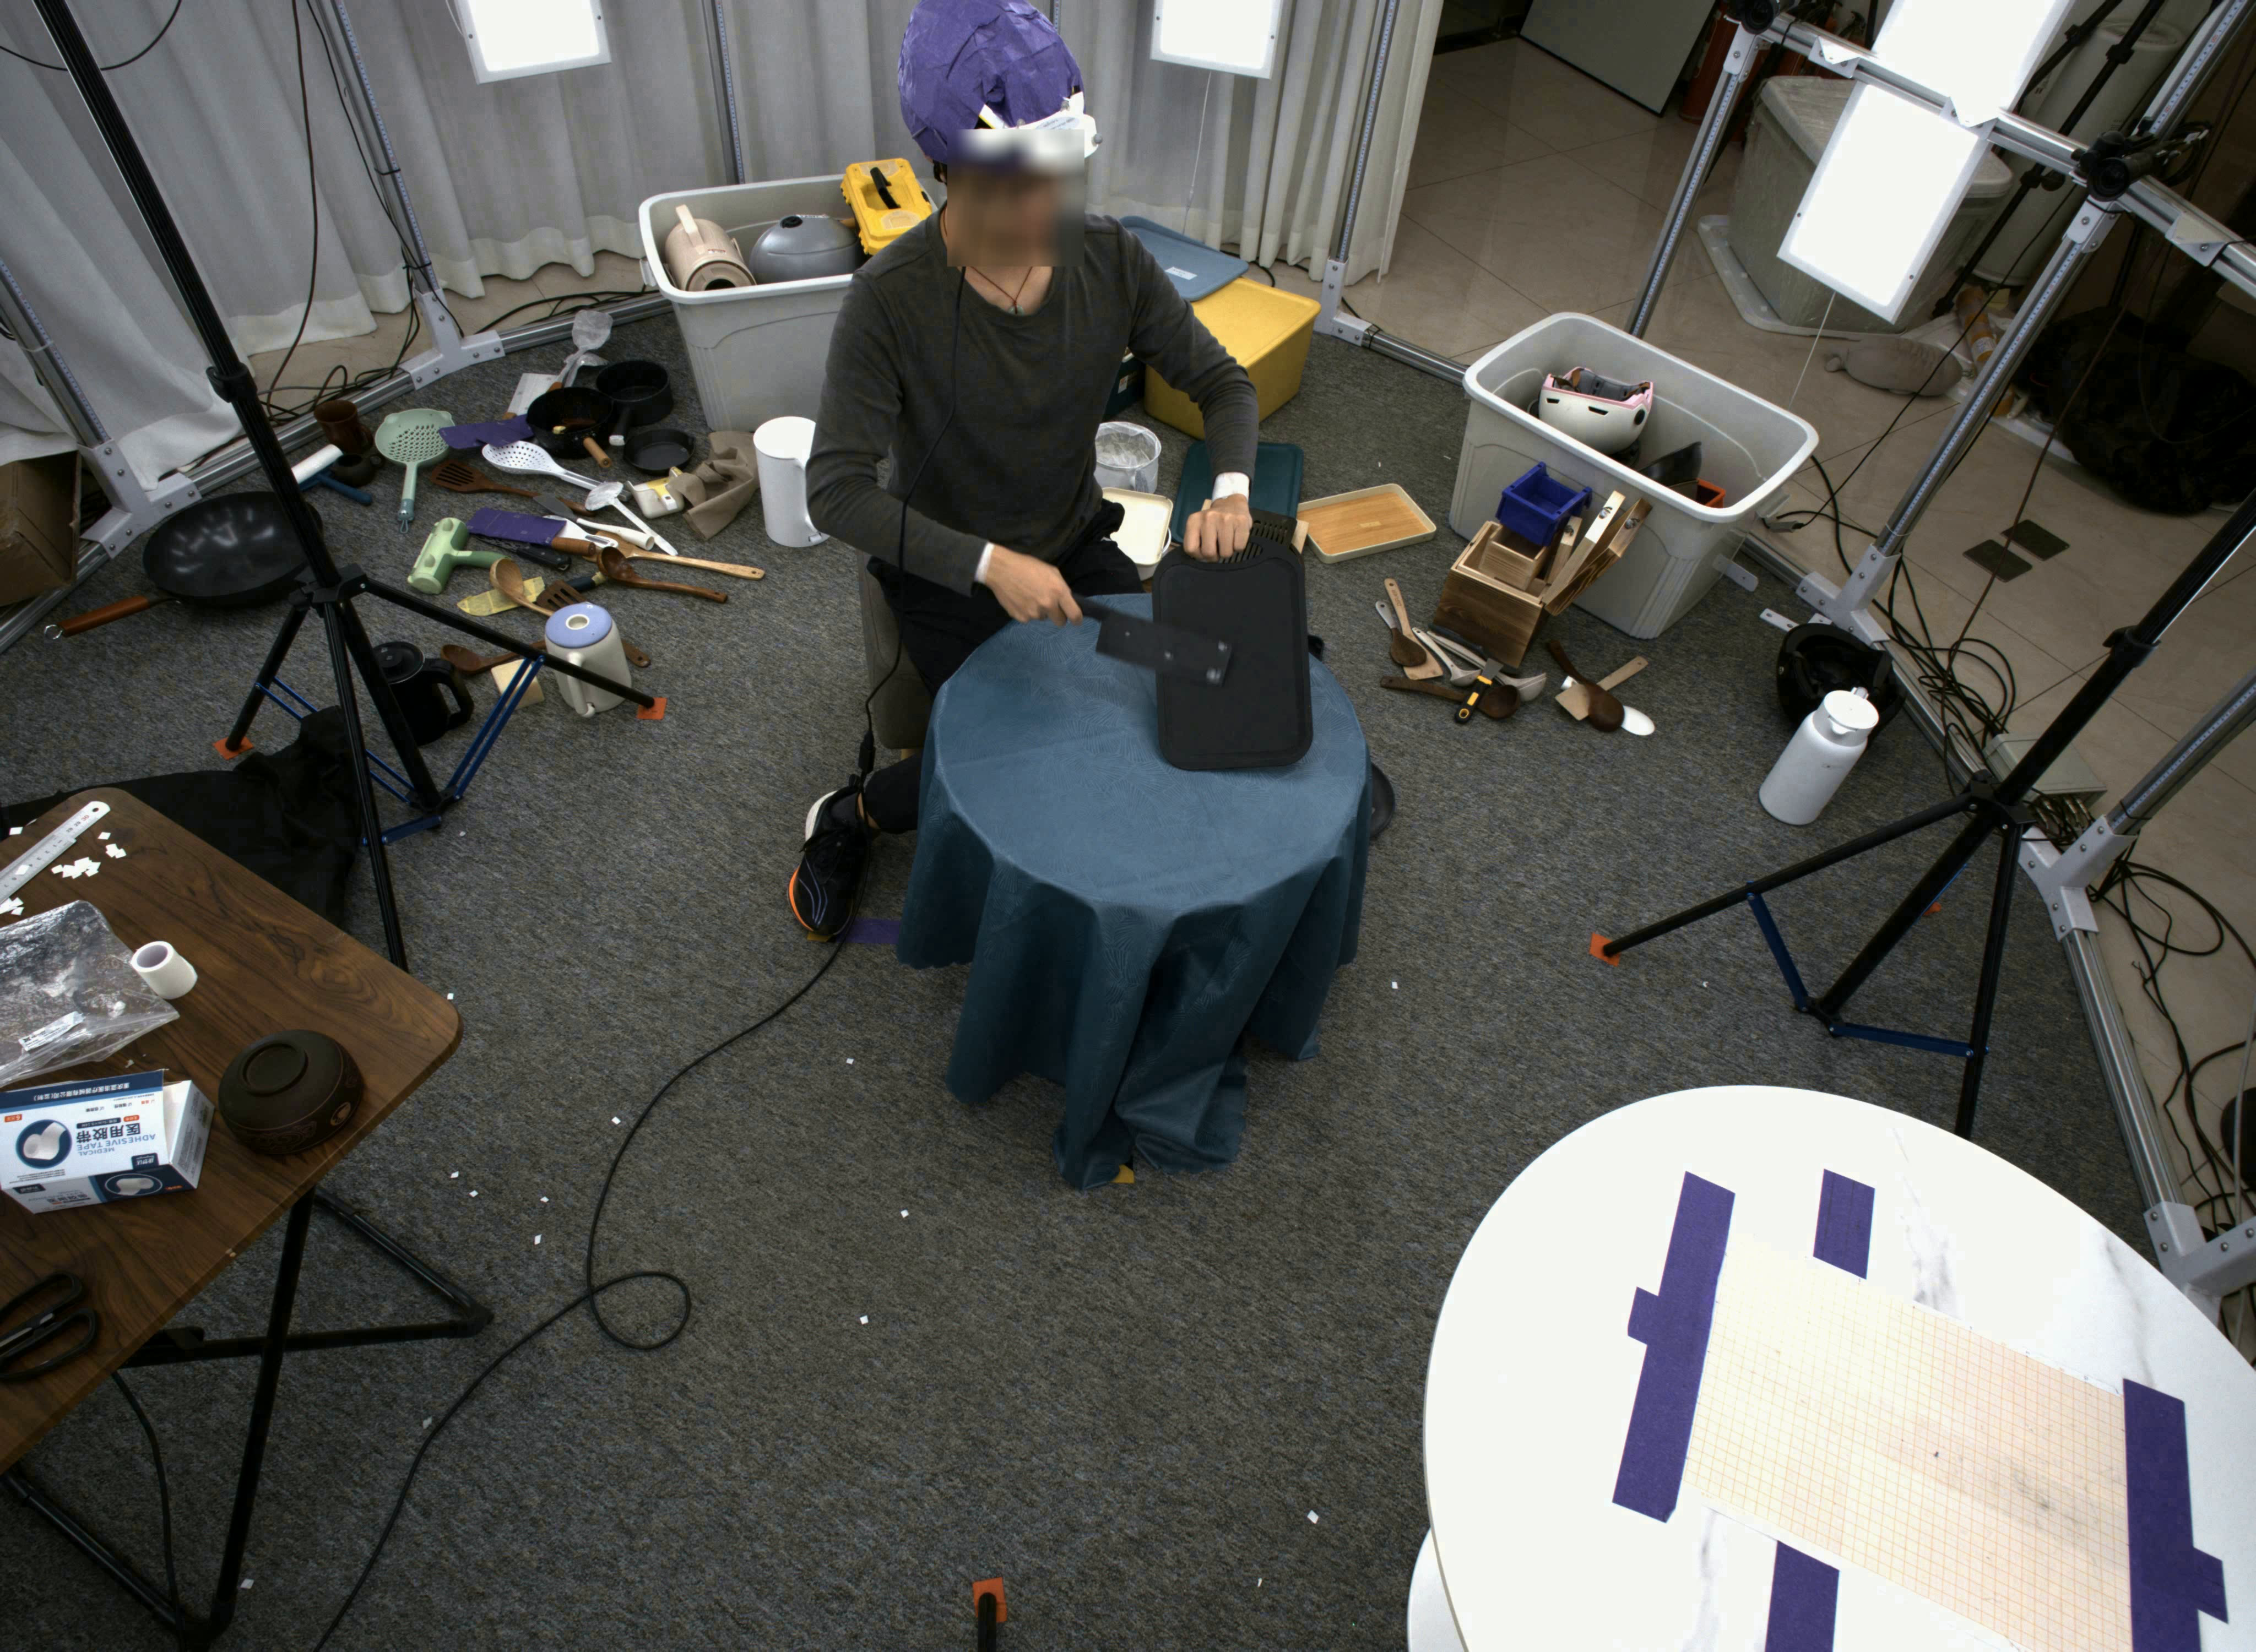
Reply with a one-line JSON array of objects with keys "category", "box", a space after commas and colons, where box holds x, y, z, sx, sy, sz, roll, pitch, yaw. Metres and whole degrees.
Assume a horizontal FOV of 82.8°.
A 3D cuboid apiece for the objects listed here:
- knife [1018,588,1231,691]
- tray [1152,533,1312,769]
[{"category": "knife", "box": [-0.008, -0.258, 1.752, 0.303, 0.080, 0.021, 22, 19, 6]}, {"category": "tray", "box": [0.140, -0.241, 1.752, 0.211, 0.010, 0.327, -2, 83, 4]}]
